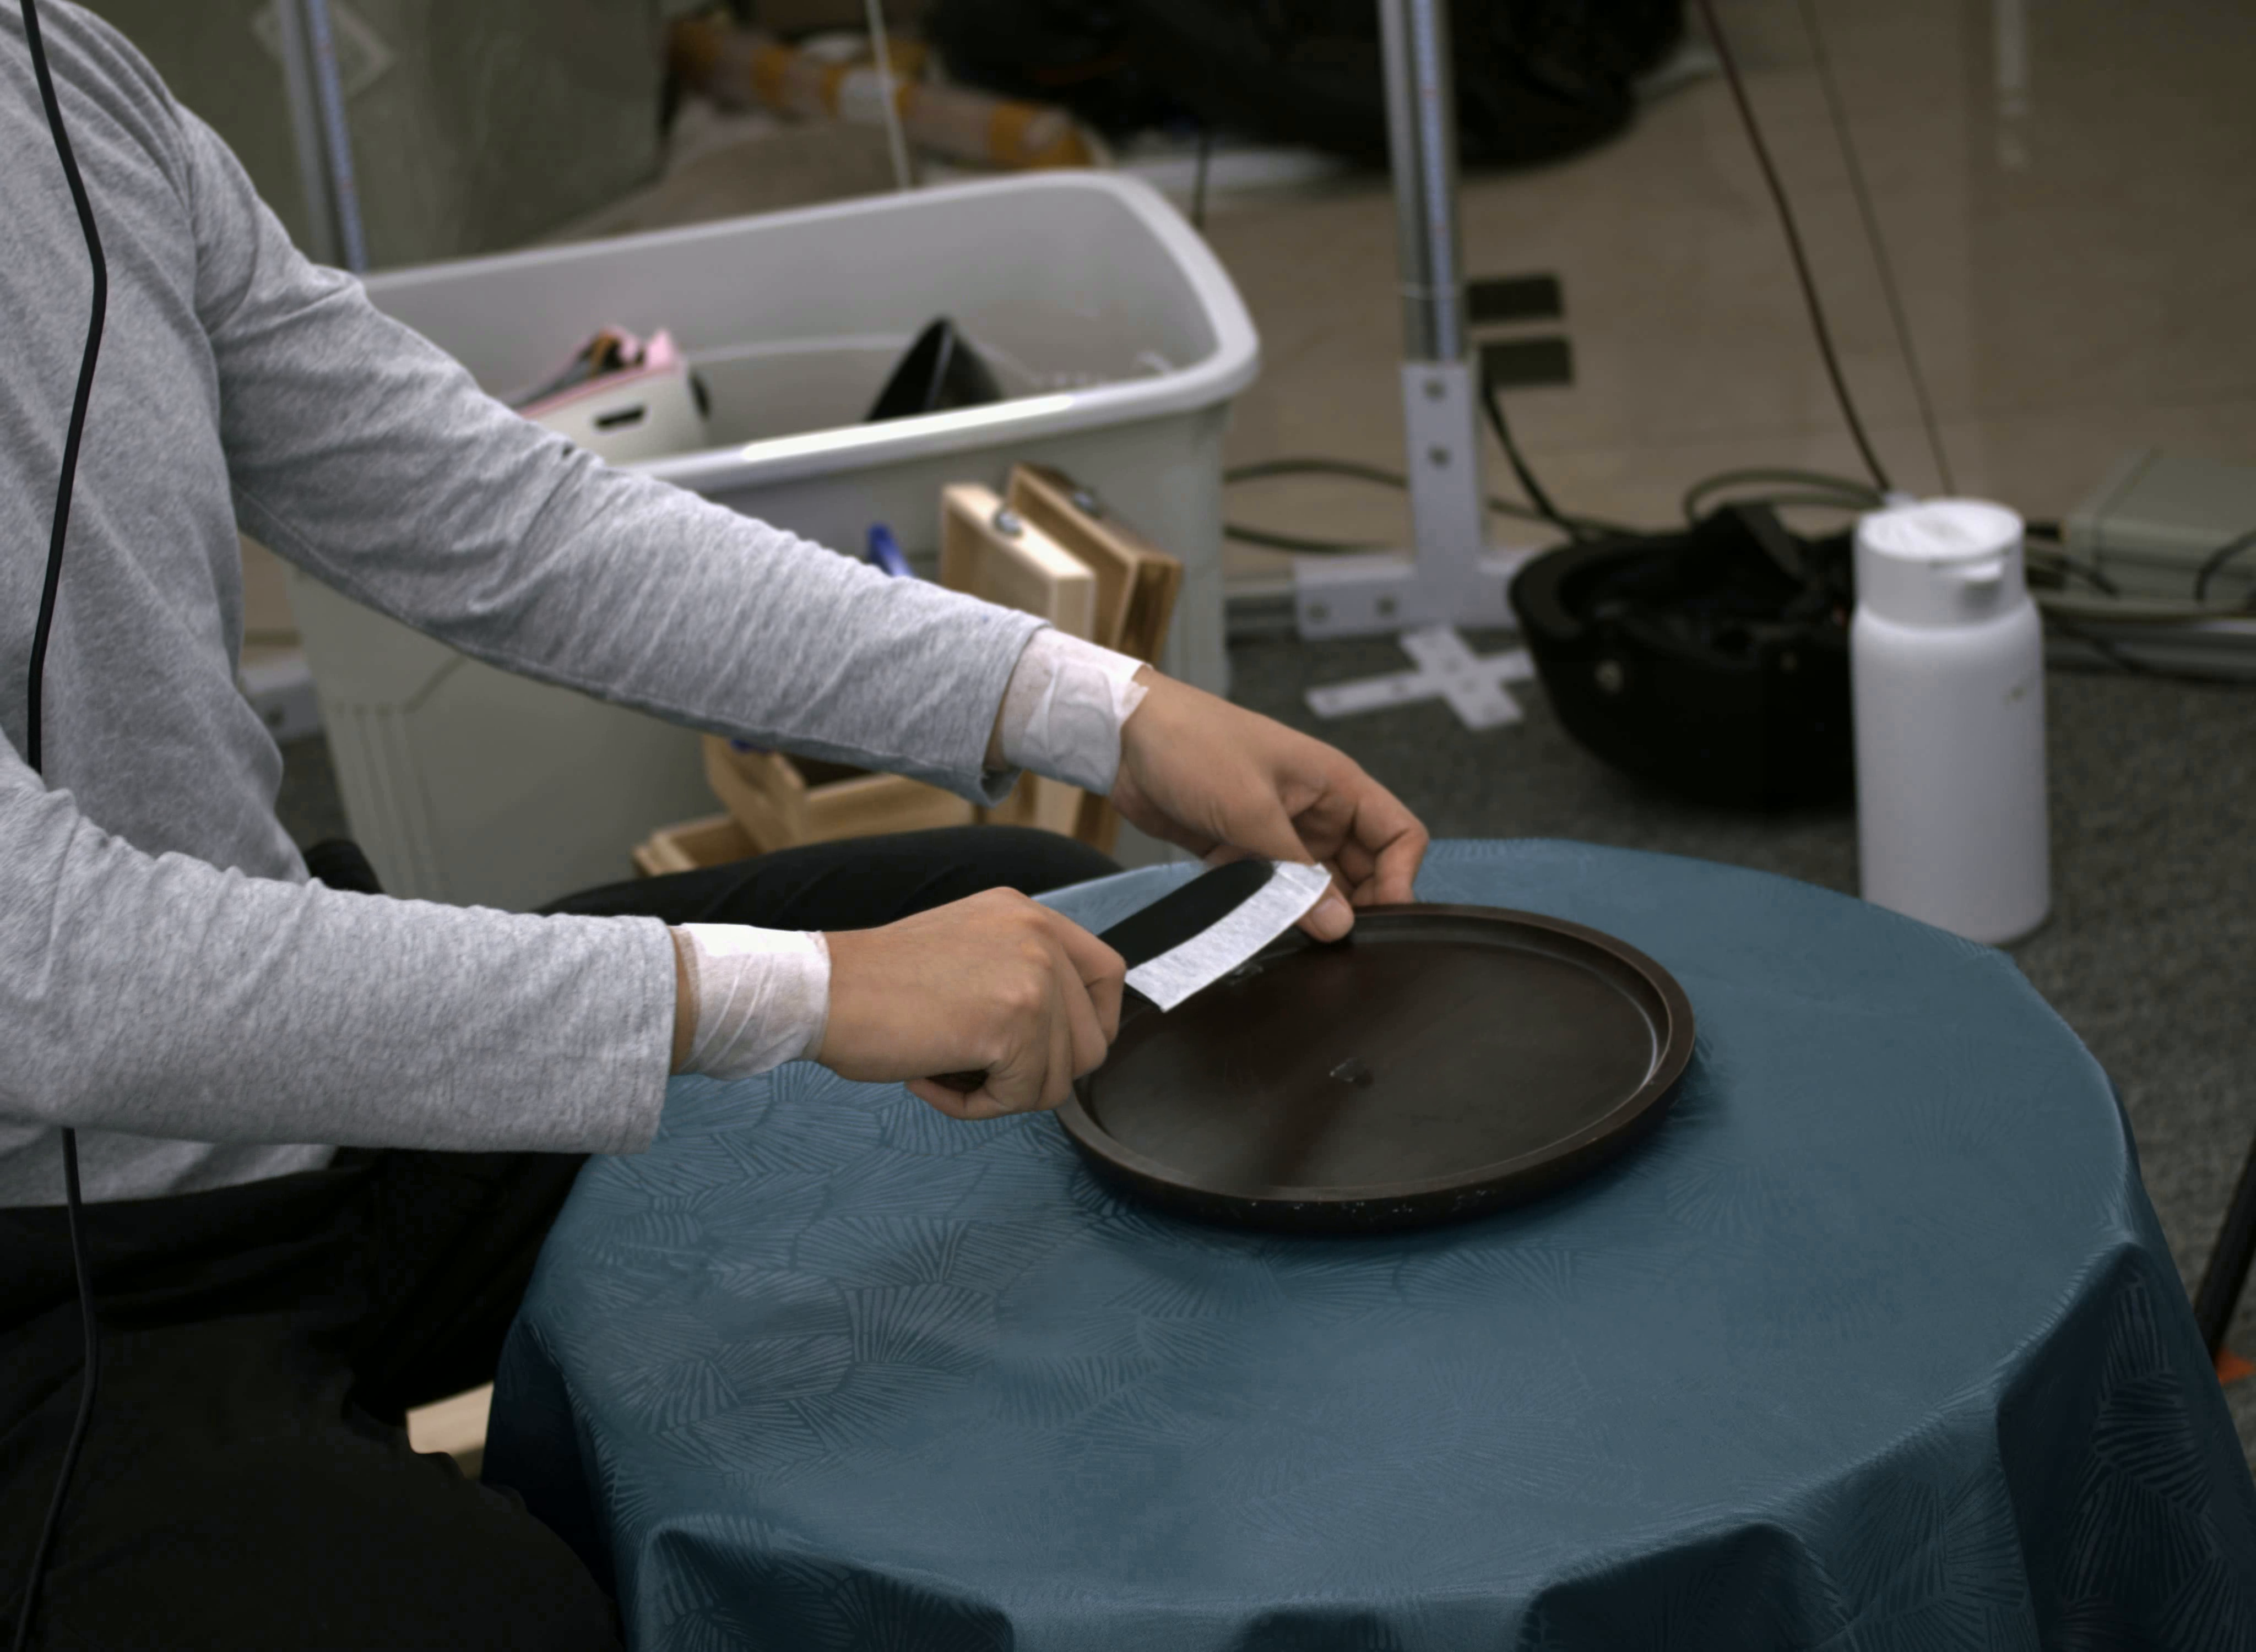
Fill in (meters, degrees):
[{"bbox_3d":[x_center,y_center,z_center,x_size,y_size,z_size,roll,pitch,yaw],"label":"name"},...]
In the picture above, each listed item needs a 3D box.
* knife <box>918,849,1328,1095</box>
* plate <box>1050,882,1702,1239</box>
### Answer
[{"bbox_3d":[0.004,0.051,2.144,0.050,0.020,0.287,36,30,18],"label":"knife"},{"bbox_3d":[0.096,0.089,2.197,0.254,0.029,0.250,-6,29,3],"label":"plate"}]
